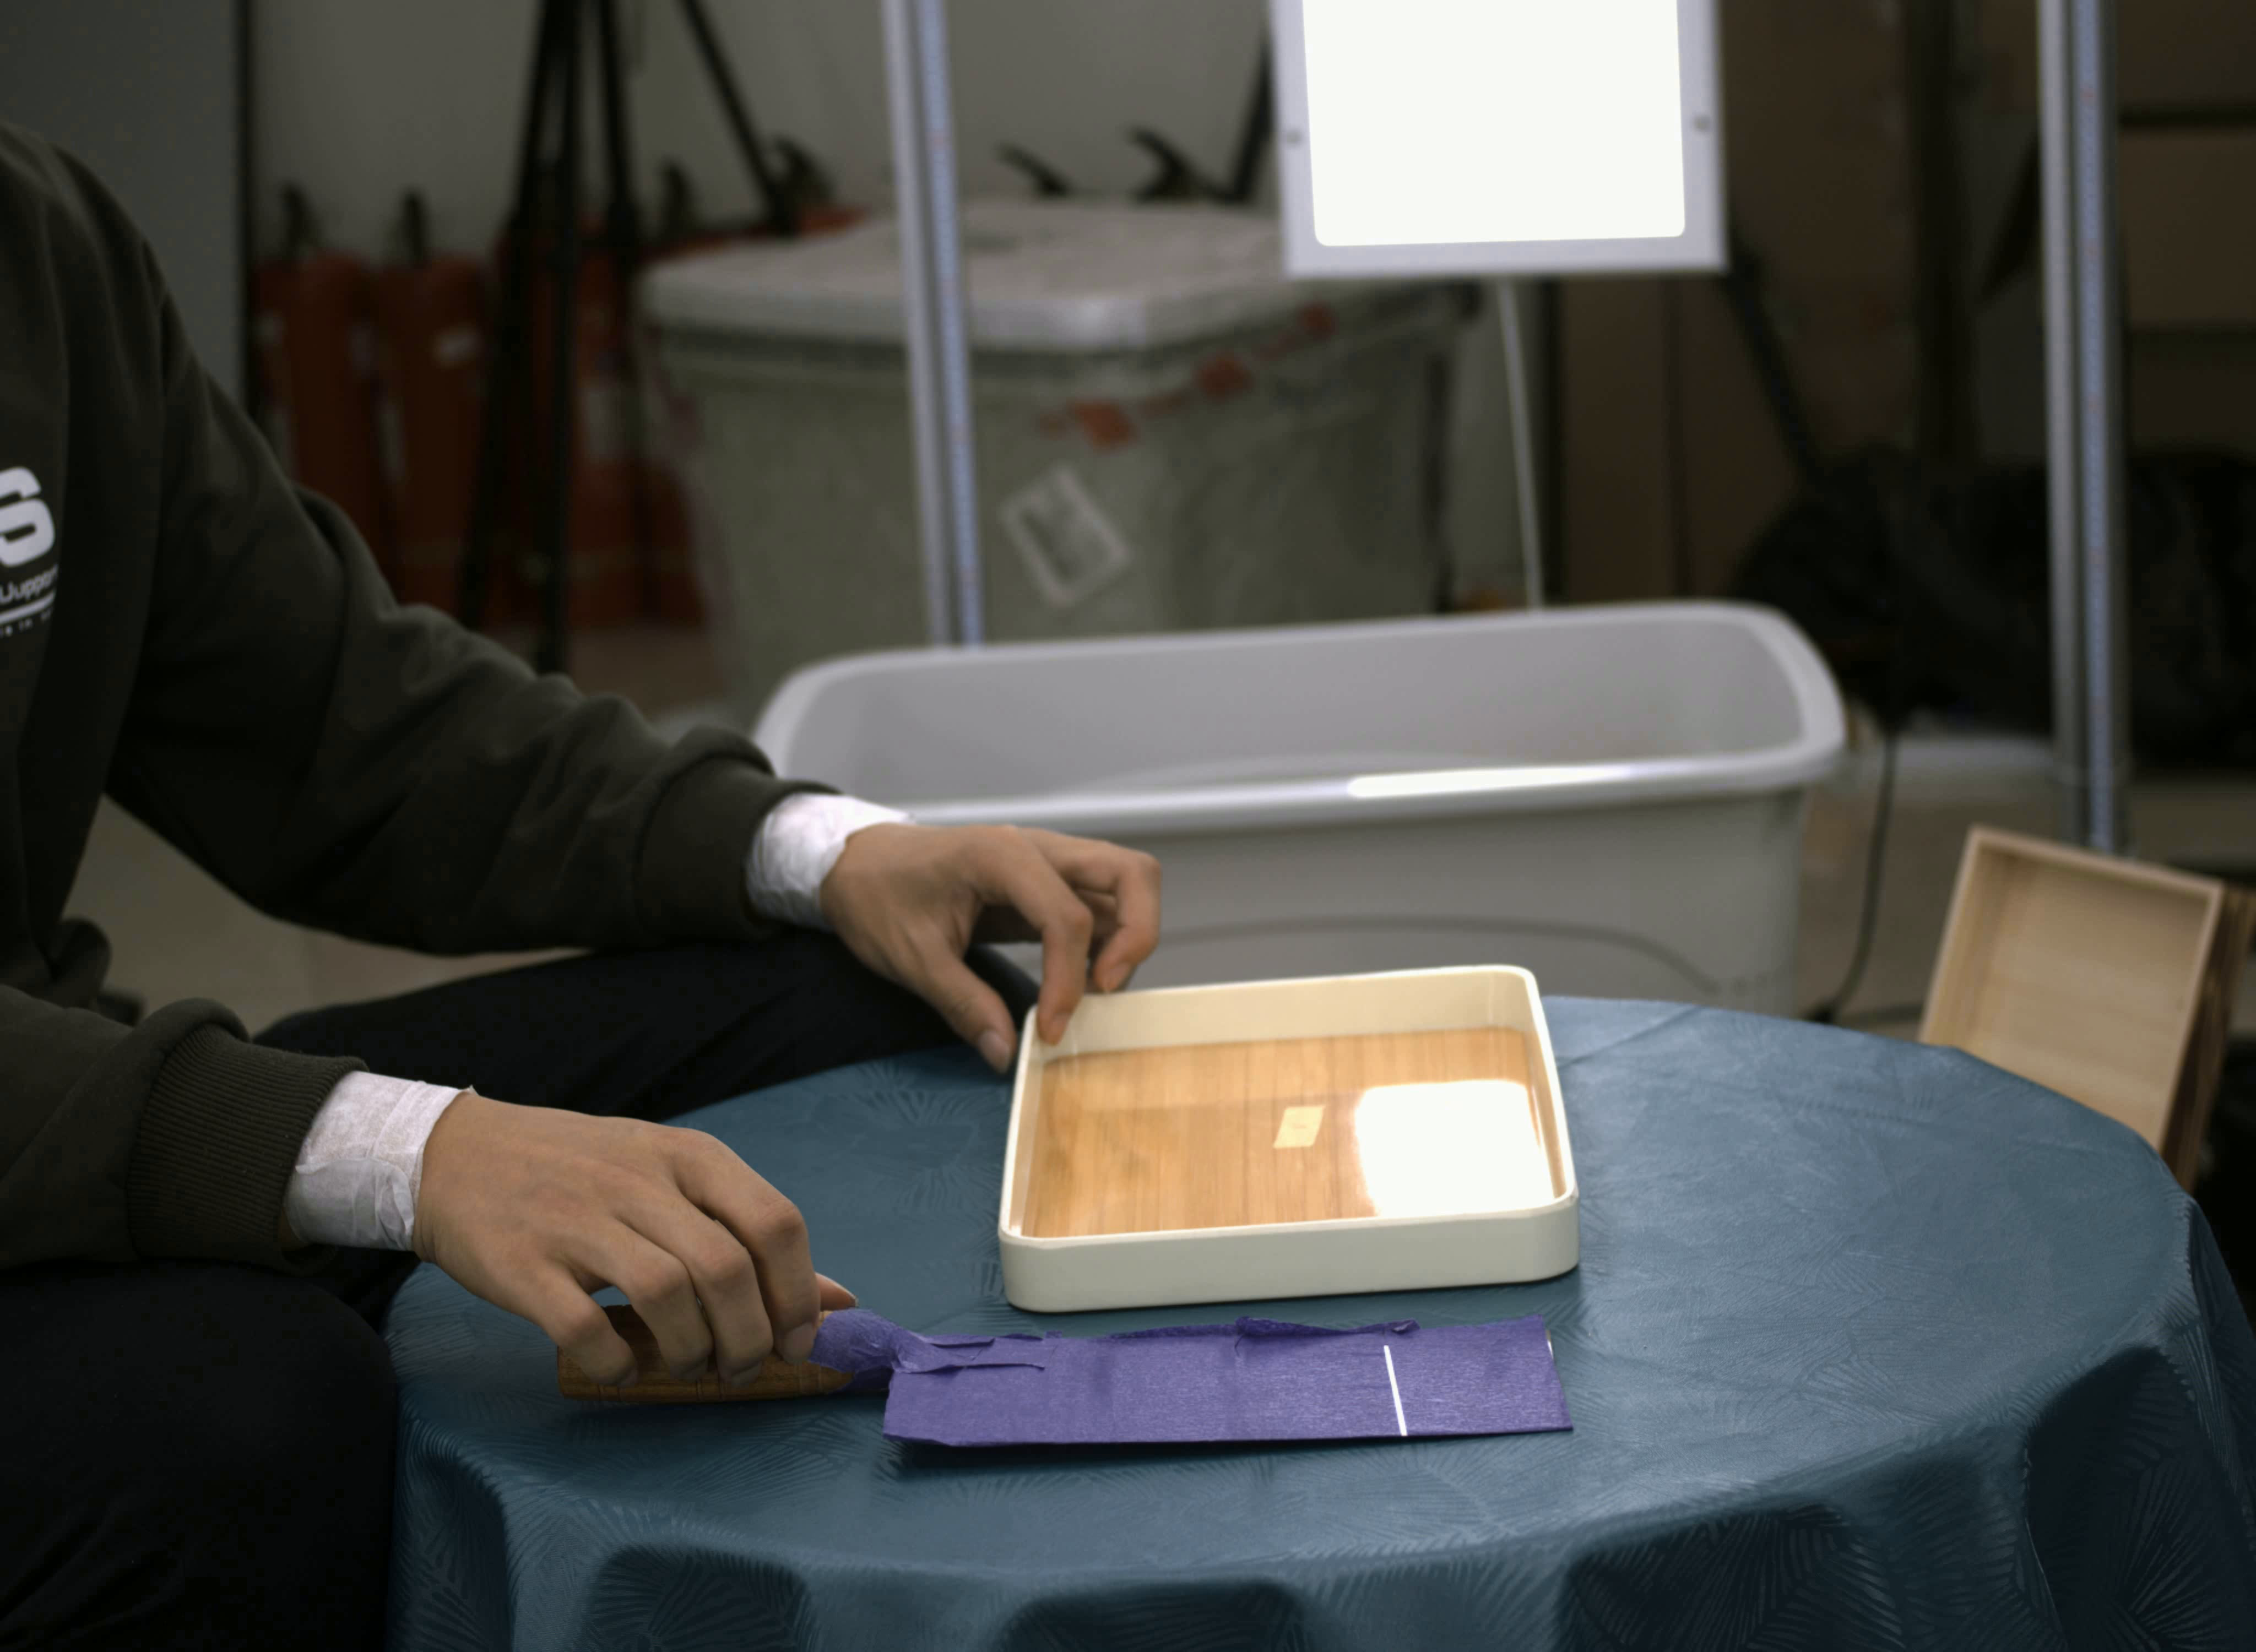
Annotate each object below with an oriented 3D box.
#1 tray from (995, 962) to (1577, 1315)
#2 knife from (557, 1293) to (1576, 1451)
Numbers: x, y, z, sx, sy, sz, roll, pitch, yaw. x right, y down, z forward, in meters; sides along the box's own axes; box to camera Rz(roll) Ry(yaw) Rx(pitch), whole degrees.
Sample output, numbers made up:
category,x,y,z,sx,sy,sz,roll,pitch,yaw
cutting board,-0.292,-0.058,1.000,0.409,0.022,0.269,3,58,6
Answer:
category,x,y,z,sx,sy,sz,roll,pitch,yaw
tray,0.054,0.105,1.914,0.192,0.027,0.299,-5,14,3
knife,-0.021,0.167,1.687,0.315,0.032,0.103,-4,13,3
